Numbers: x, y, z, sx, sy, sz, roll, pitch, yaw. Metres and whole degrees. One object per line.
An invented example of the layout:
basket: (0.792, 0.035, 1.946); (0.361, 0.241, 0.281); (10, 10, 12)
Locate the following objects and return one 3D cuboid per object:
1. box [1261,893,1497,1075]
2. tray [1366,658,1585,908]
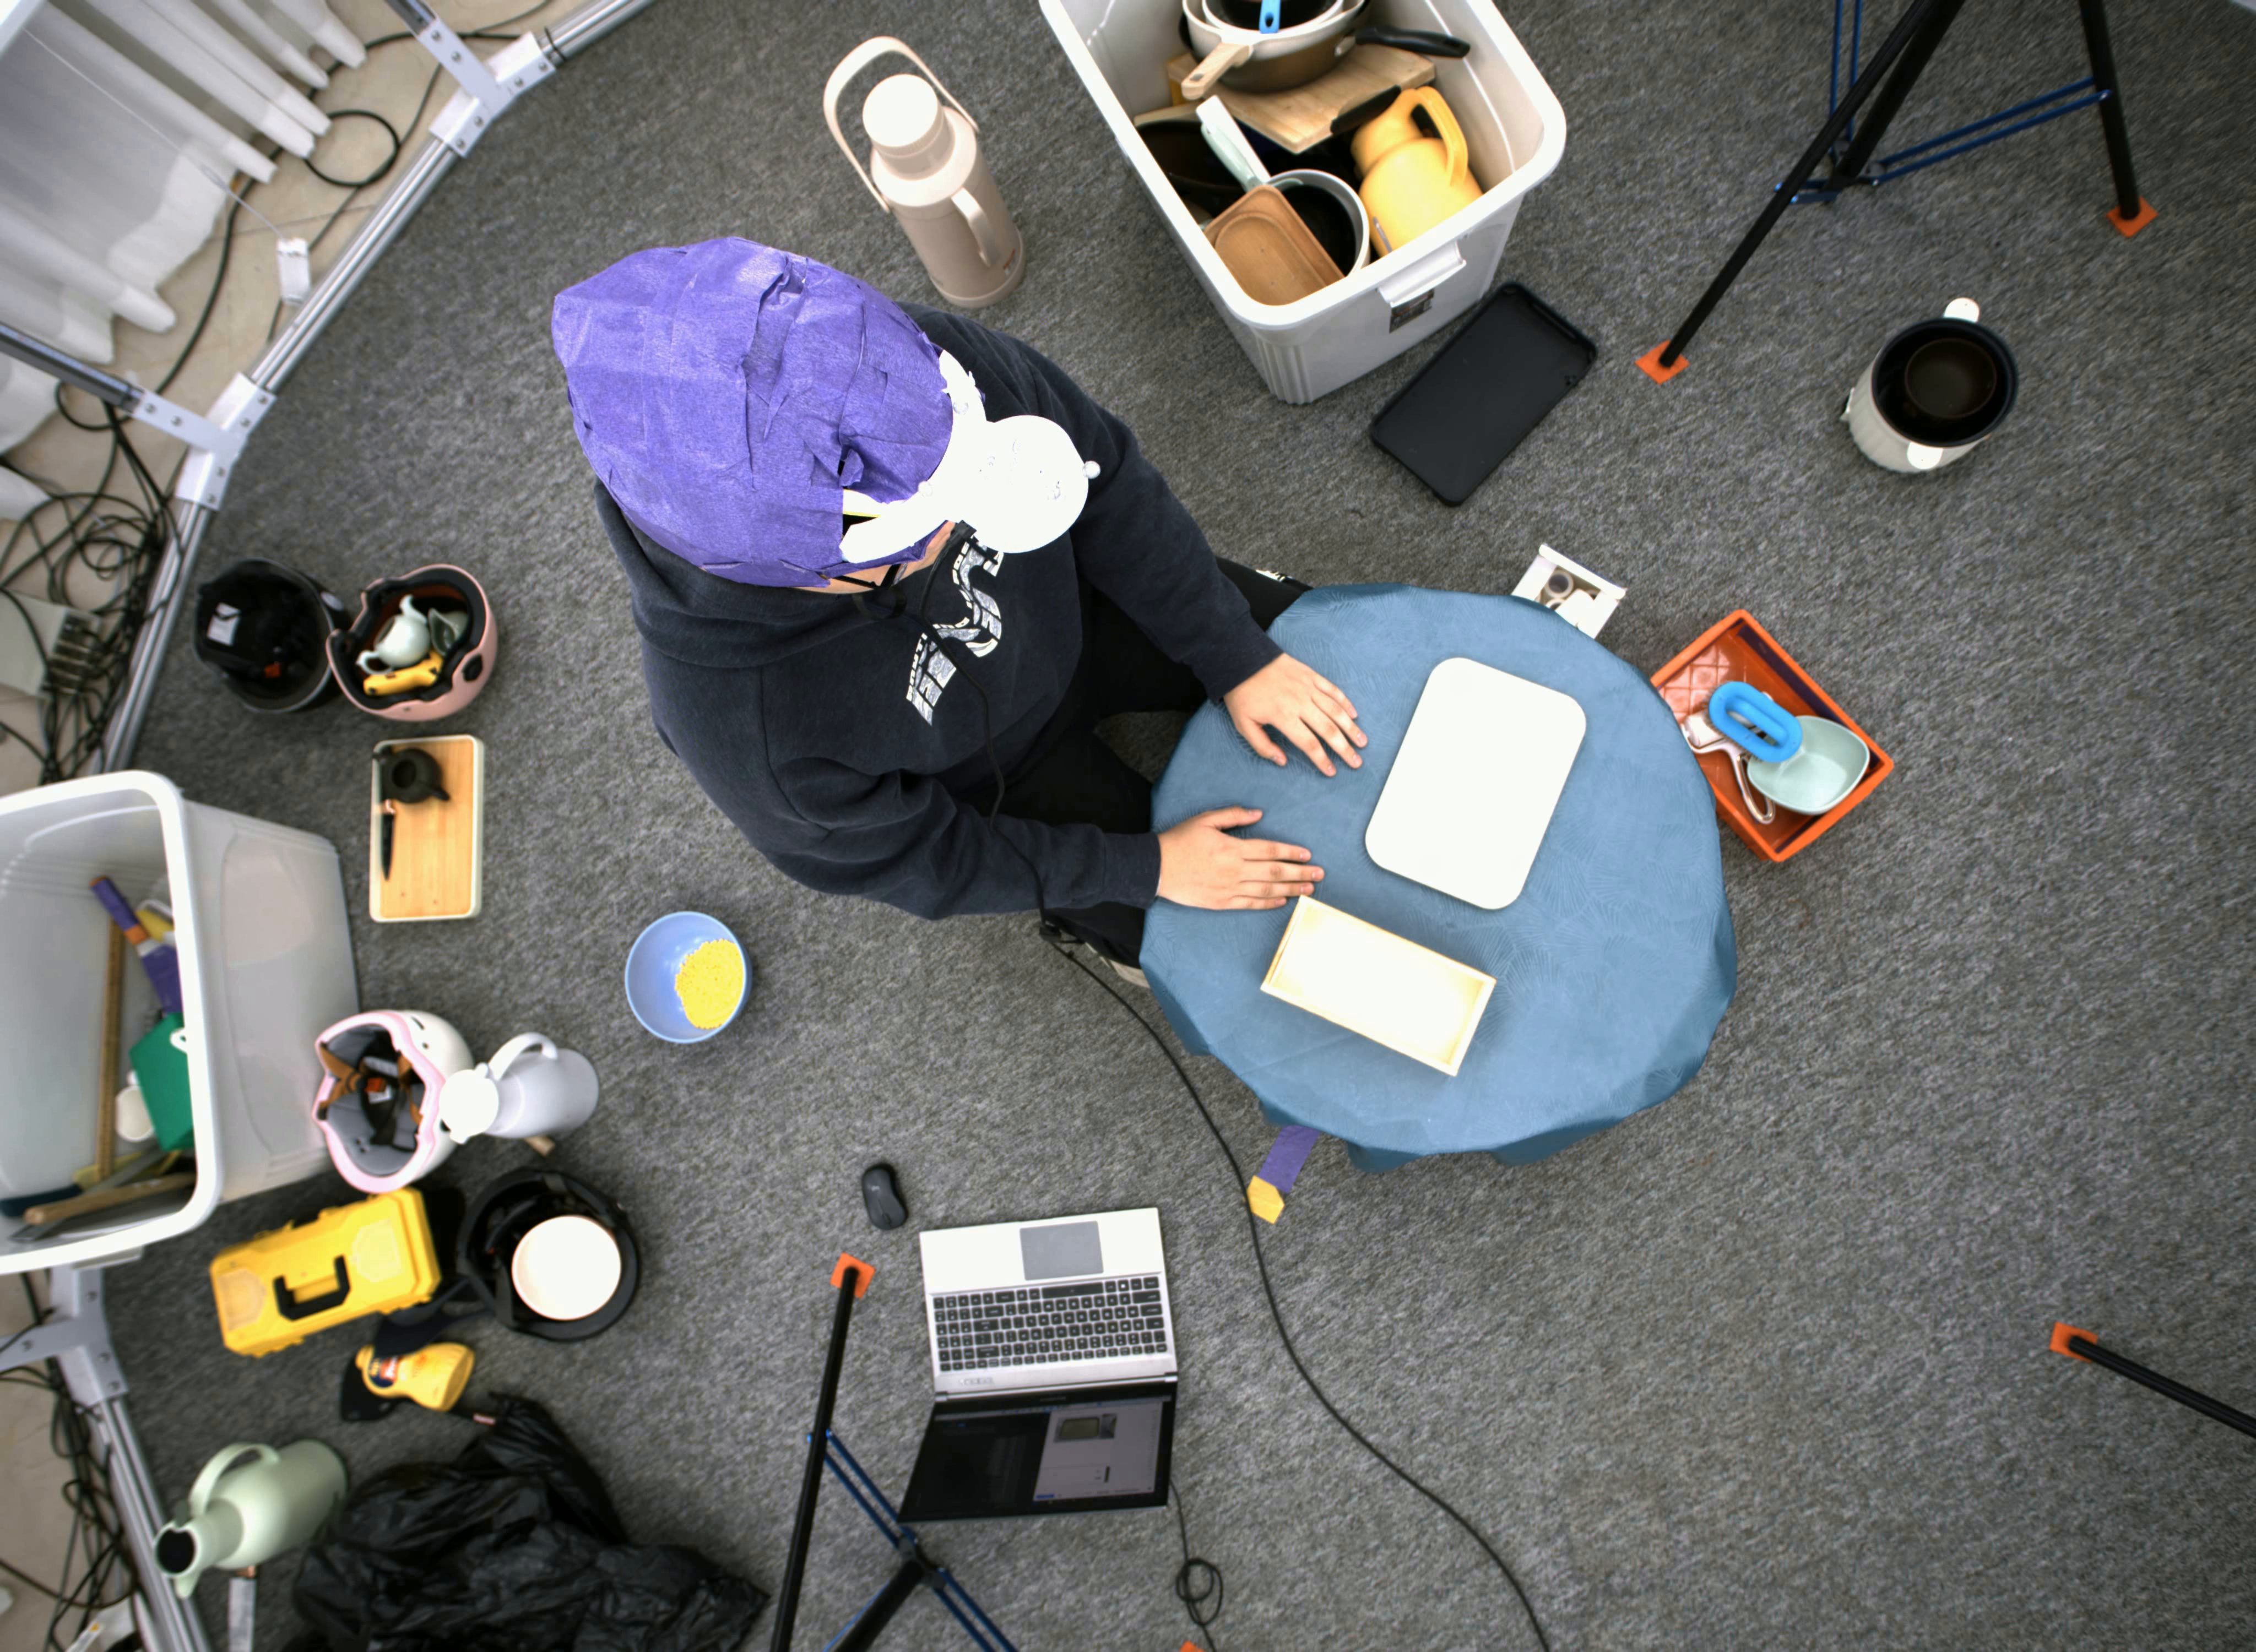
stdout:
box: (0.256, 0.160, 1.418); (0.211, 0.080, 0.107); (23, 89, 12)
tray: (0.364, -0.048, 1.441); (0.171, 0.017, 0.239); (22, 91, 12)
